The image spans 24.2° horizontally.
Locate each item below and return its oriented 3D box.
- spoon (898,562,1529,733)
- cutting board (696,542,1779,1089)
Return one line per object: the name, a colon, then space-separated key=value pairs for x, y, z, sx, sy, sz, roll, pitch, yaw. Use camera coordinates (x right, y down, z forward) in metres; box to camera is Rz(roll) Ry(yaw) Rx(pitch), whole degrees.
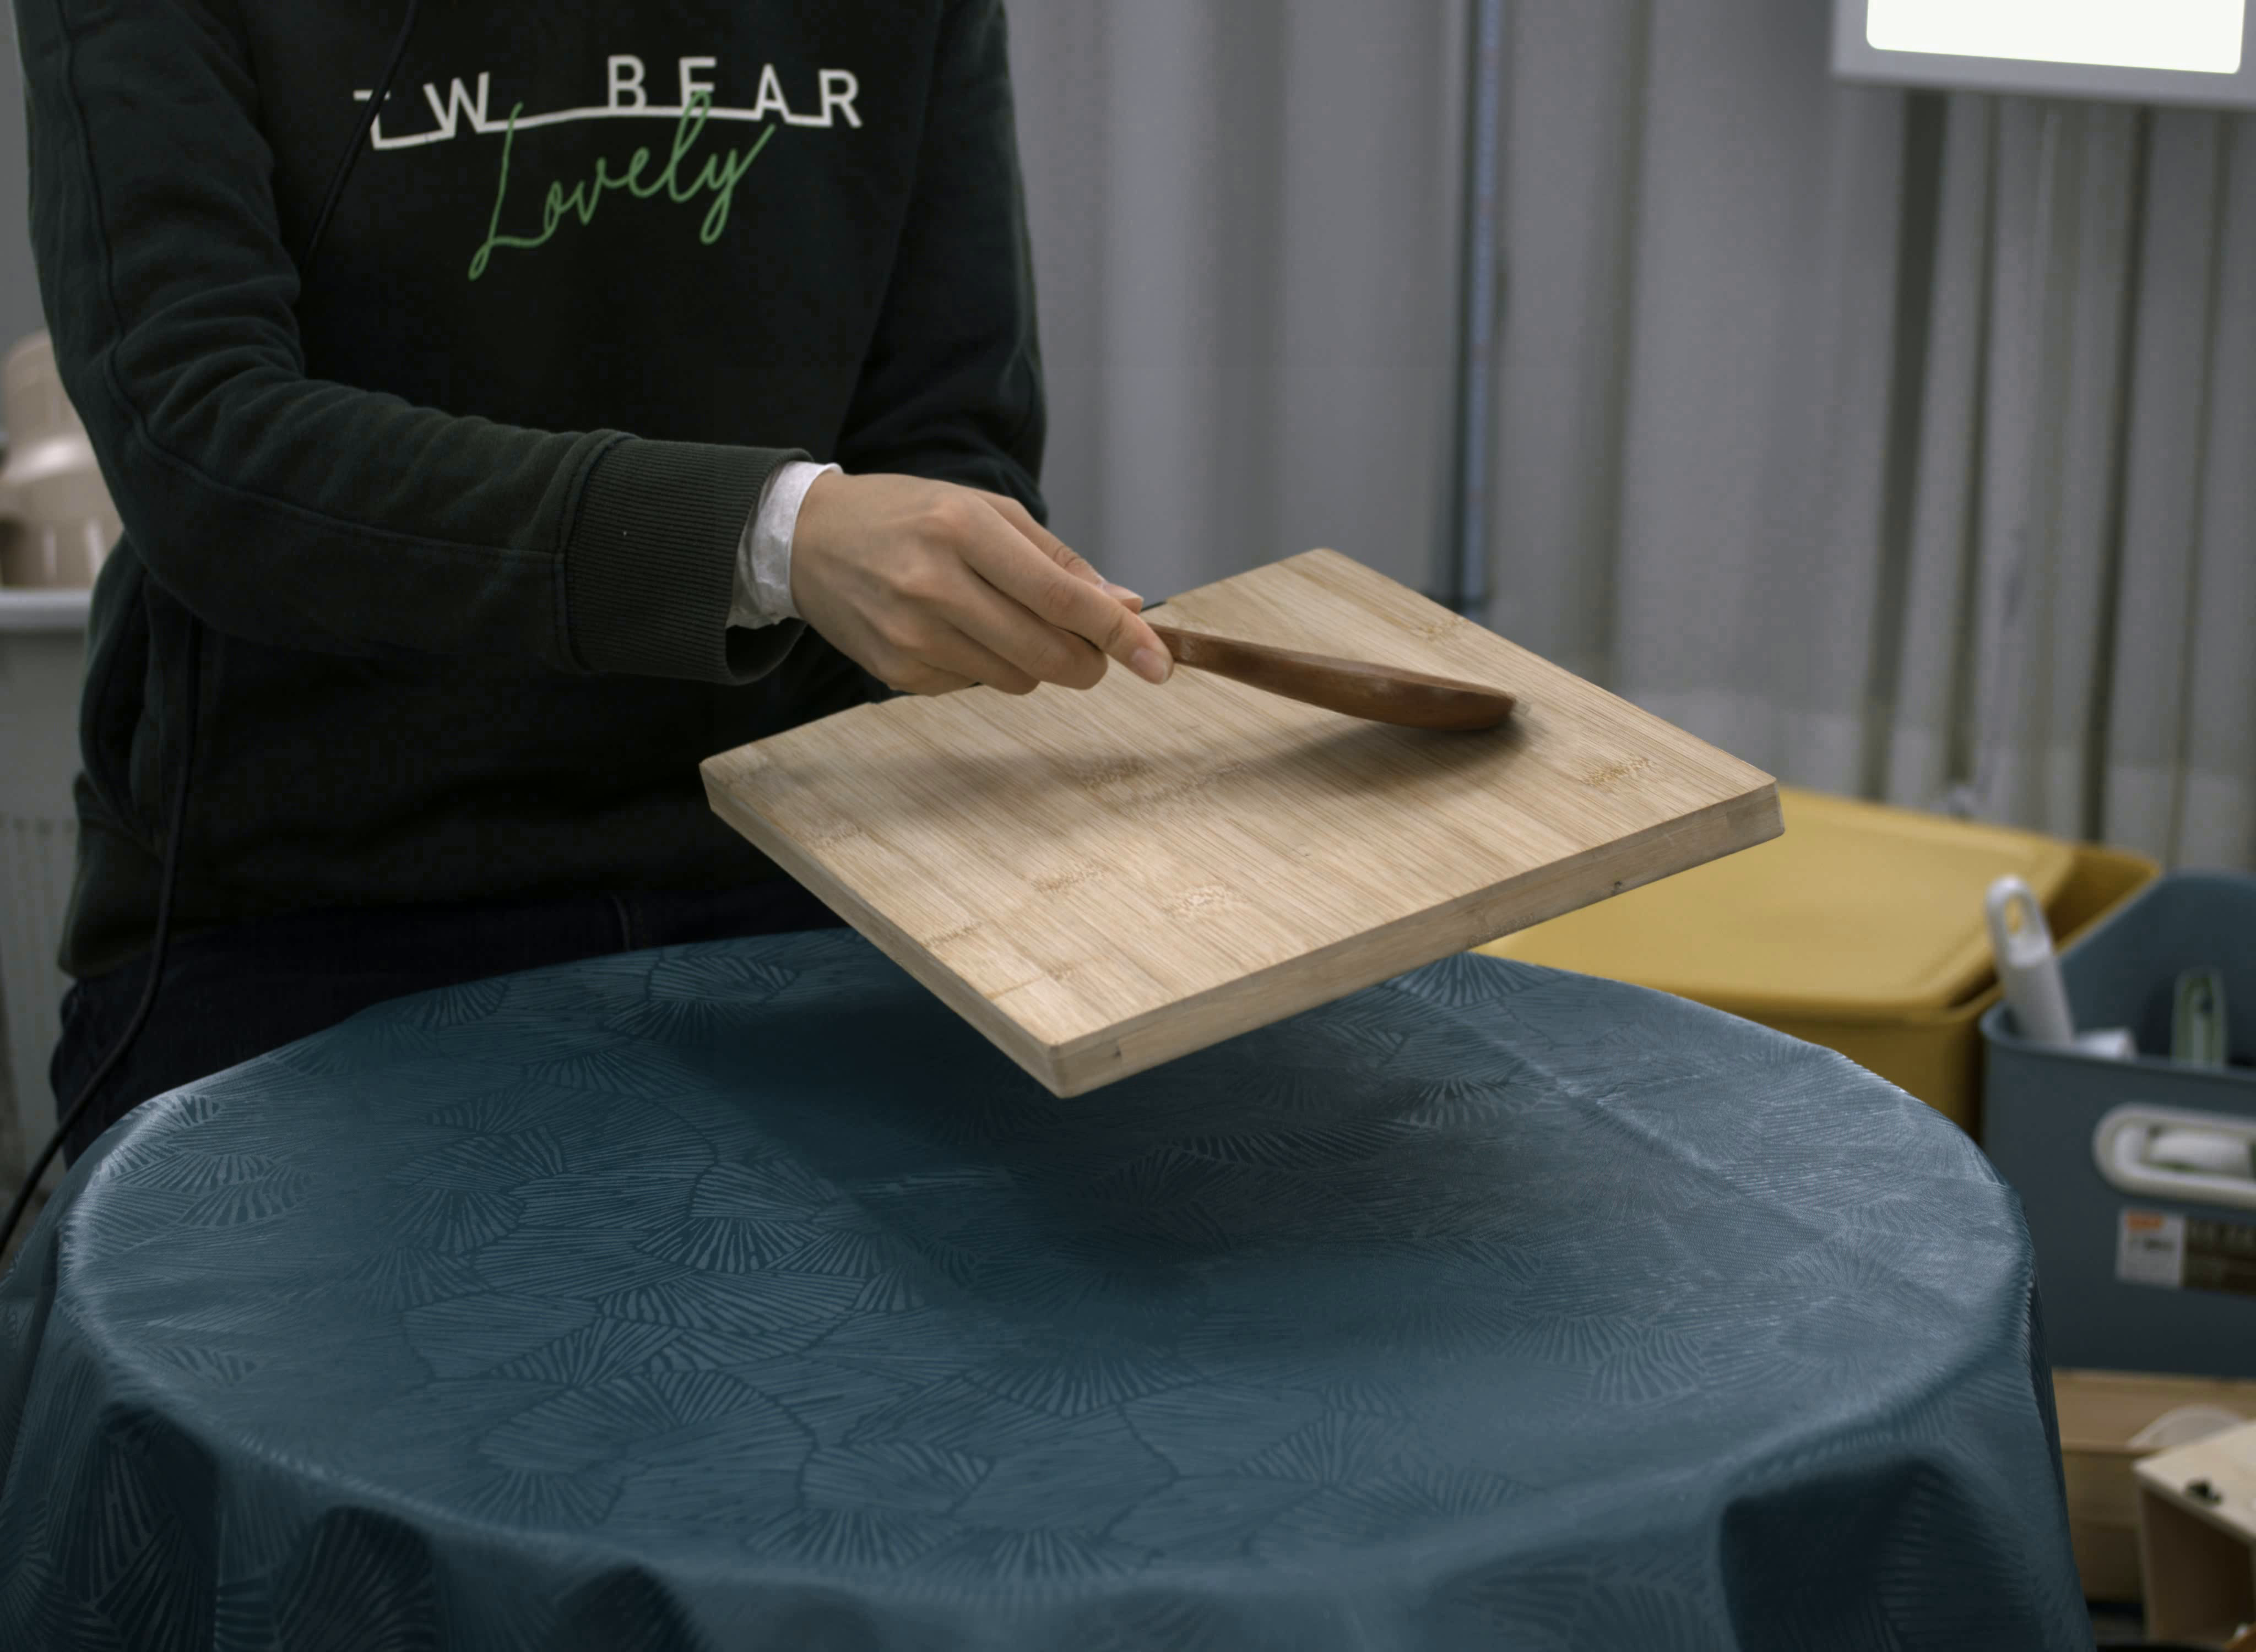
spoon: x=0.024 y=-0.055 z=1.669 sx=0.213 sy=0.017 sz=0.076 roll=14 pitch=7 yaw=21
cutting board: x=0.024 y=-0.011 z=1.687 sx=0.251 sy=0.024 sz=0.344 roll=-19 pitch=21 yaw=-18
